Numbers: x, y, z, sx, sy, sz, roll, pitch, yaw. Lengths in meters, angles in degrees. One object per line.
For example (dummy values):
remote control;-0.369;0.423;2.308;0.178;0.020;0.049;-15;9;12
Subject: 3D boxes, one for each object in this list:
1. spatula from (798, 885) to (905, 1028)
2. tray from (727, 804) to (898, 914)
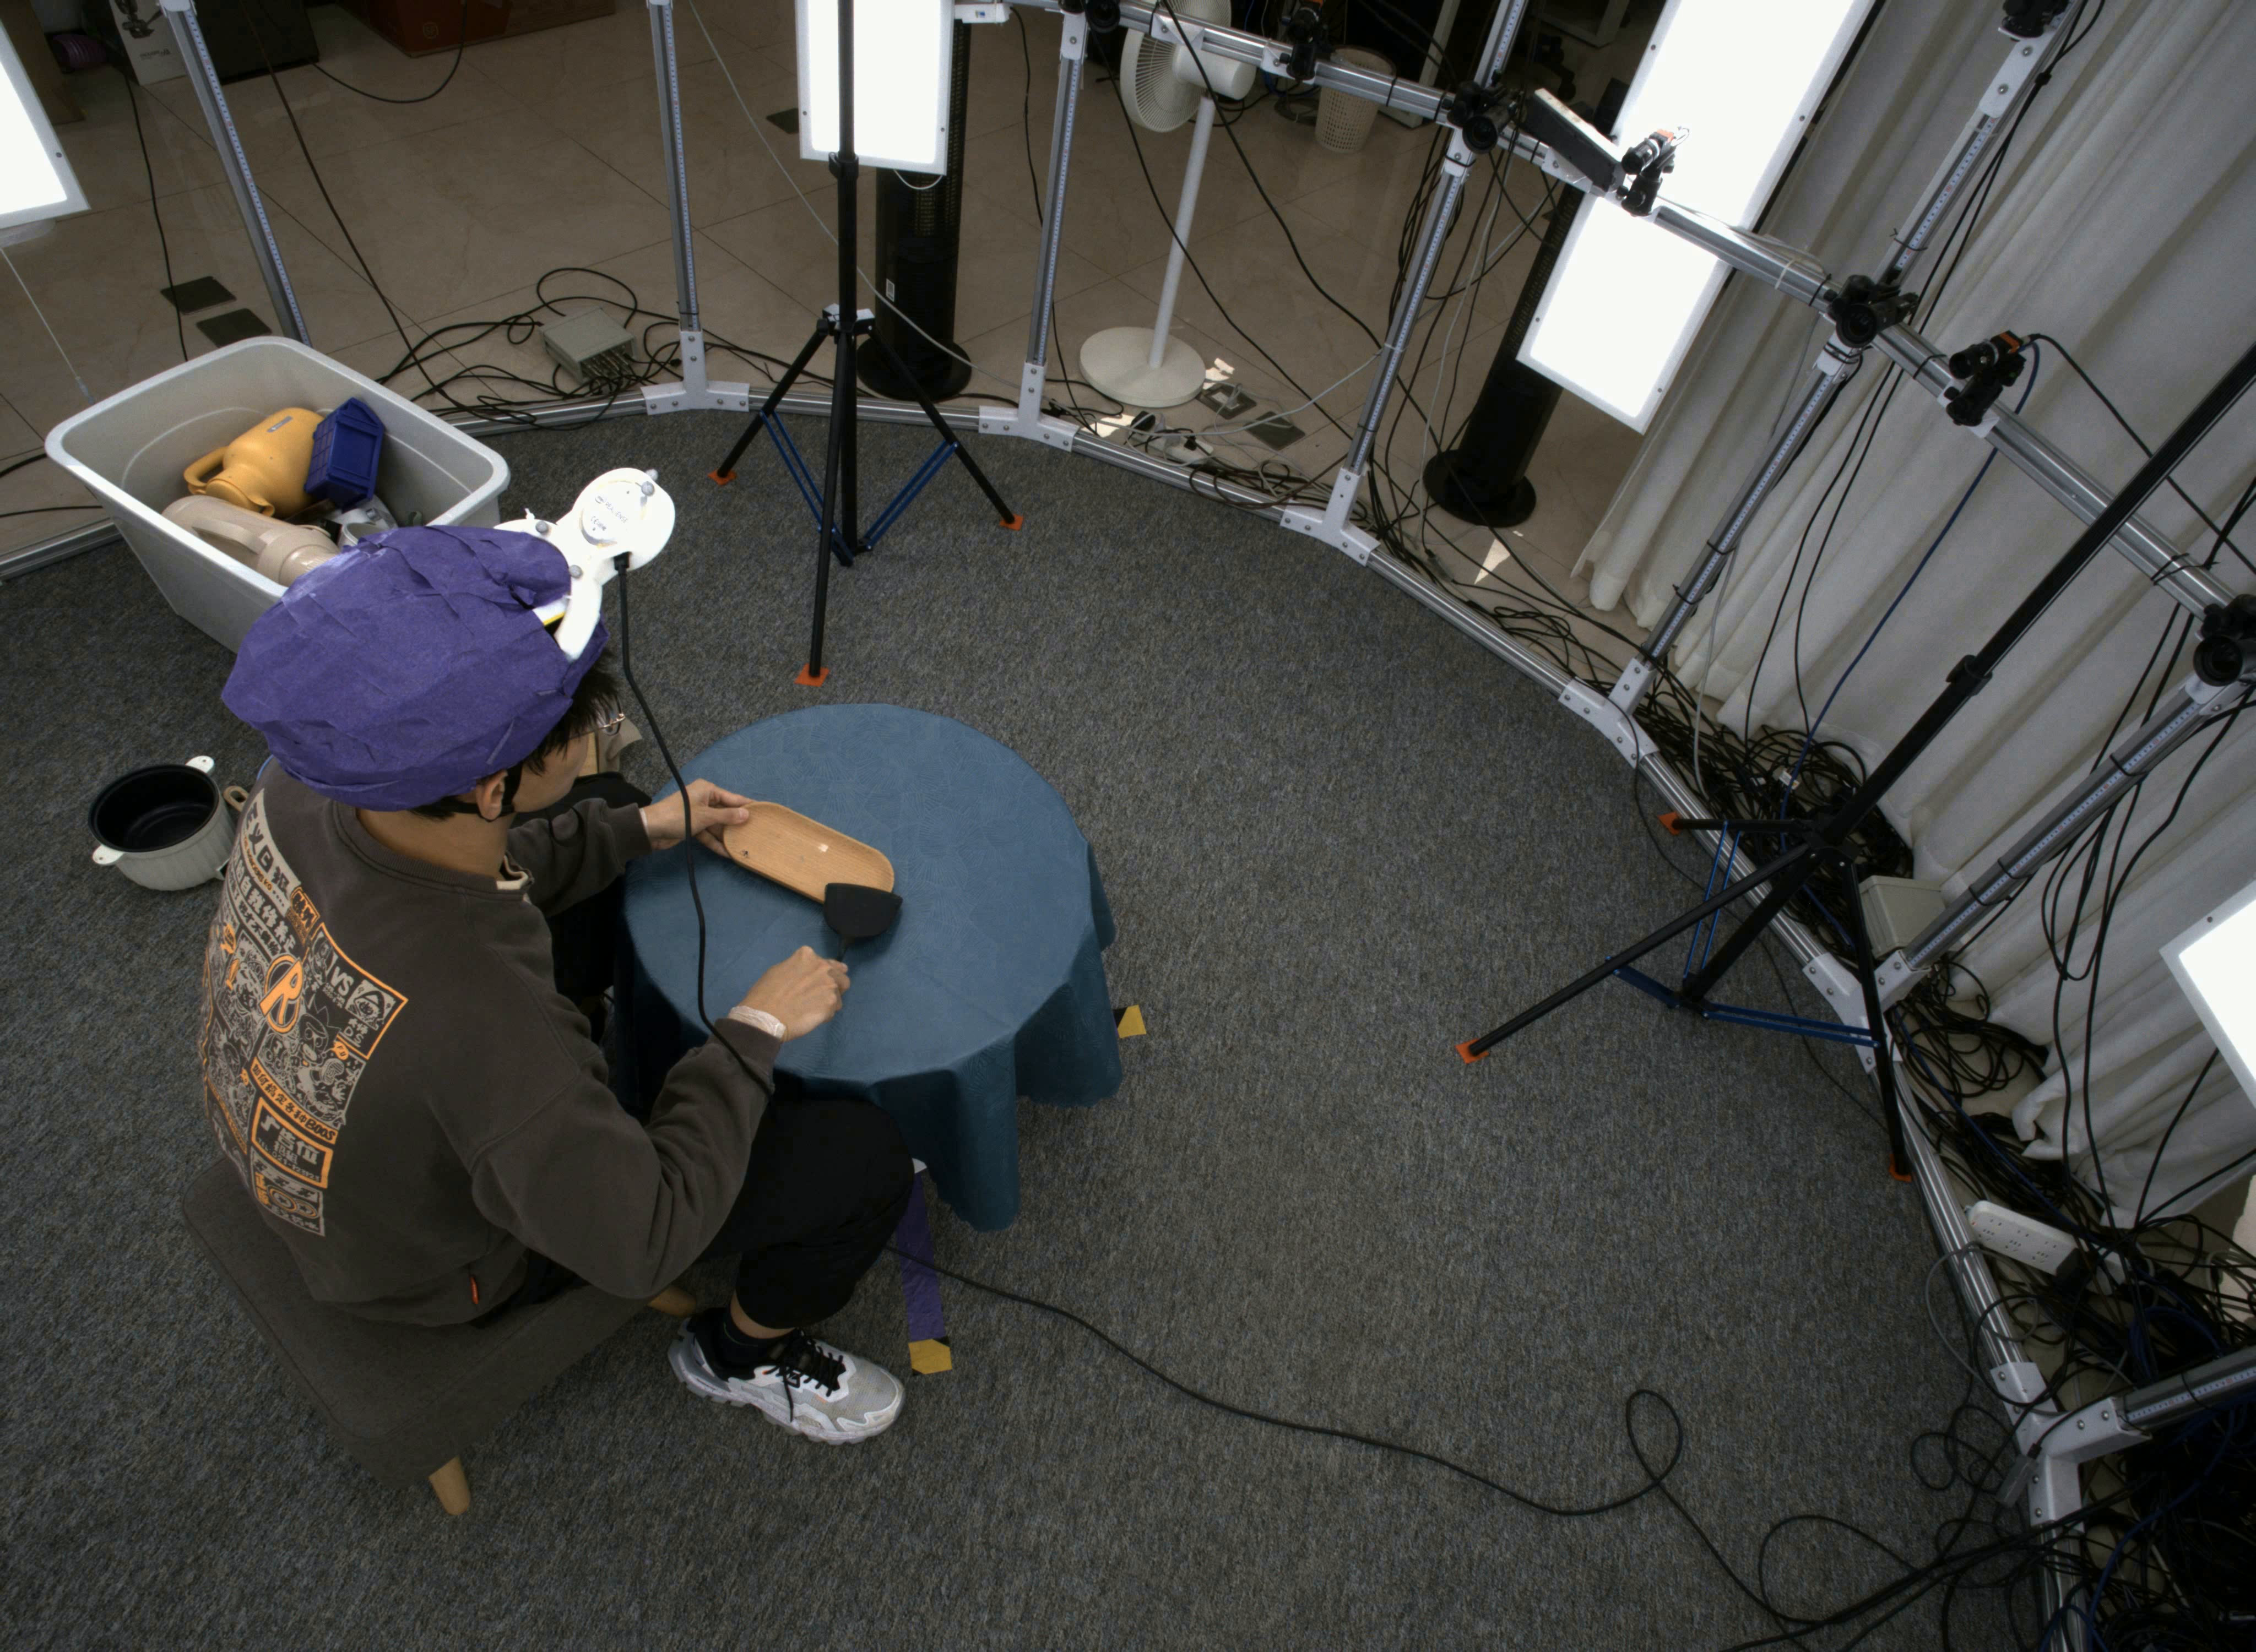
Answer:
spatula;-0.342;0.149;1.539;0.099;0.041;0.321;11;18;-3
tray;-0.410;0.044;1.685;0.230;0.020;0.101;26;57;-4
